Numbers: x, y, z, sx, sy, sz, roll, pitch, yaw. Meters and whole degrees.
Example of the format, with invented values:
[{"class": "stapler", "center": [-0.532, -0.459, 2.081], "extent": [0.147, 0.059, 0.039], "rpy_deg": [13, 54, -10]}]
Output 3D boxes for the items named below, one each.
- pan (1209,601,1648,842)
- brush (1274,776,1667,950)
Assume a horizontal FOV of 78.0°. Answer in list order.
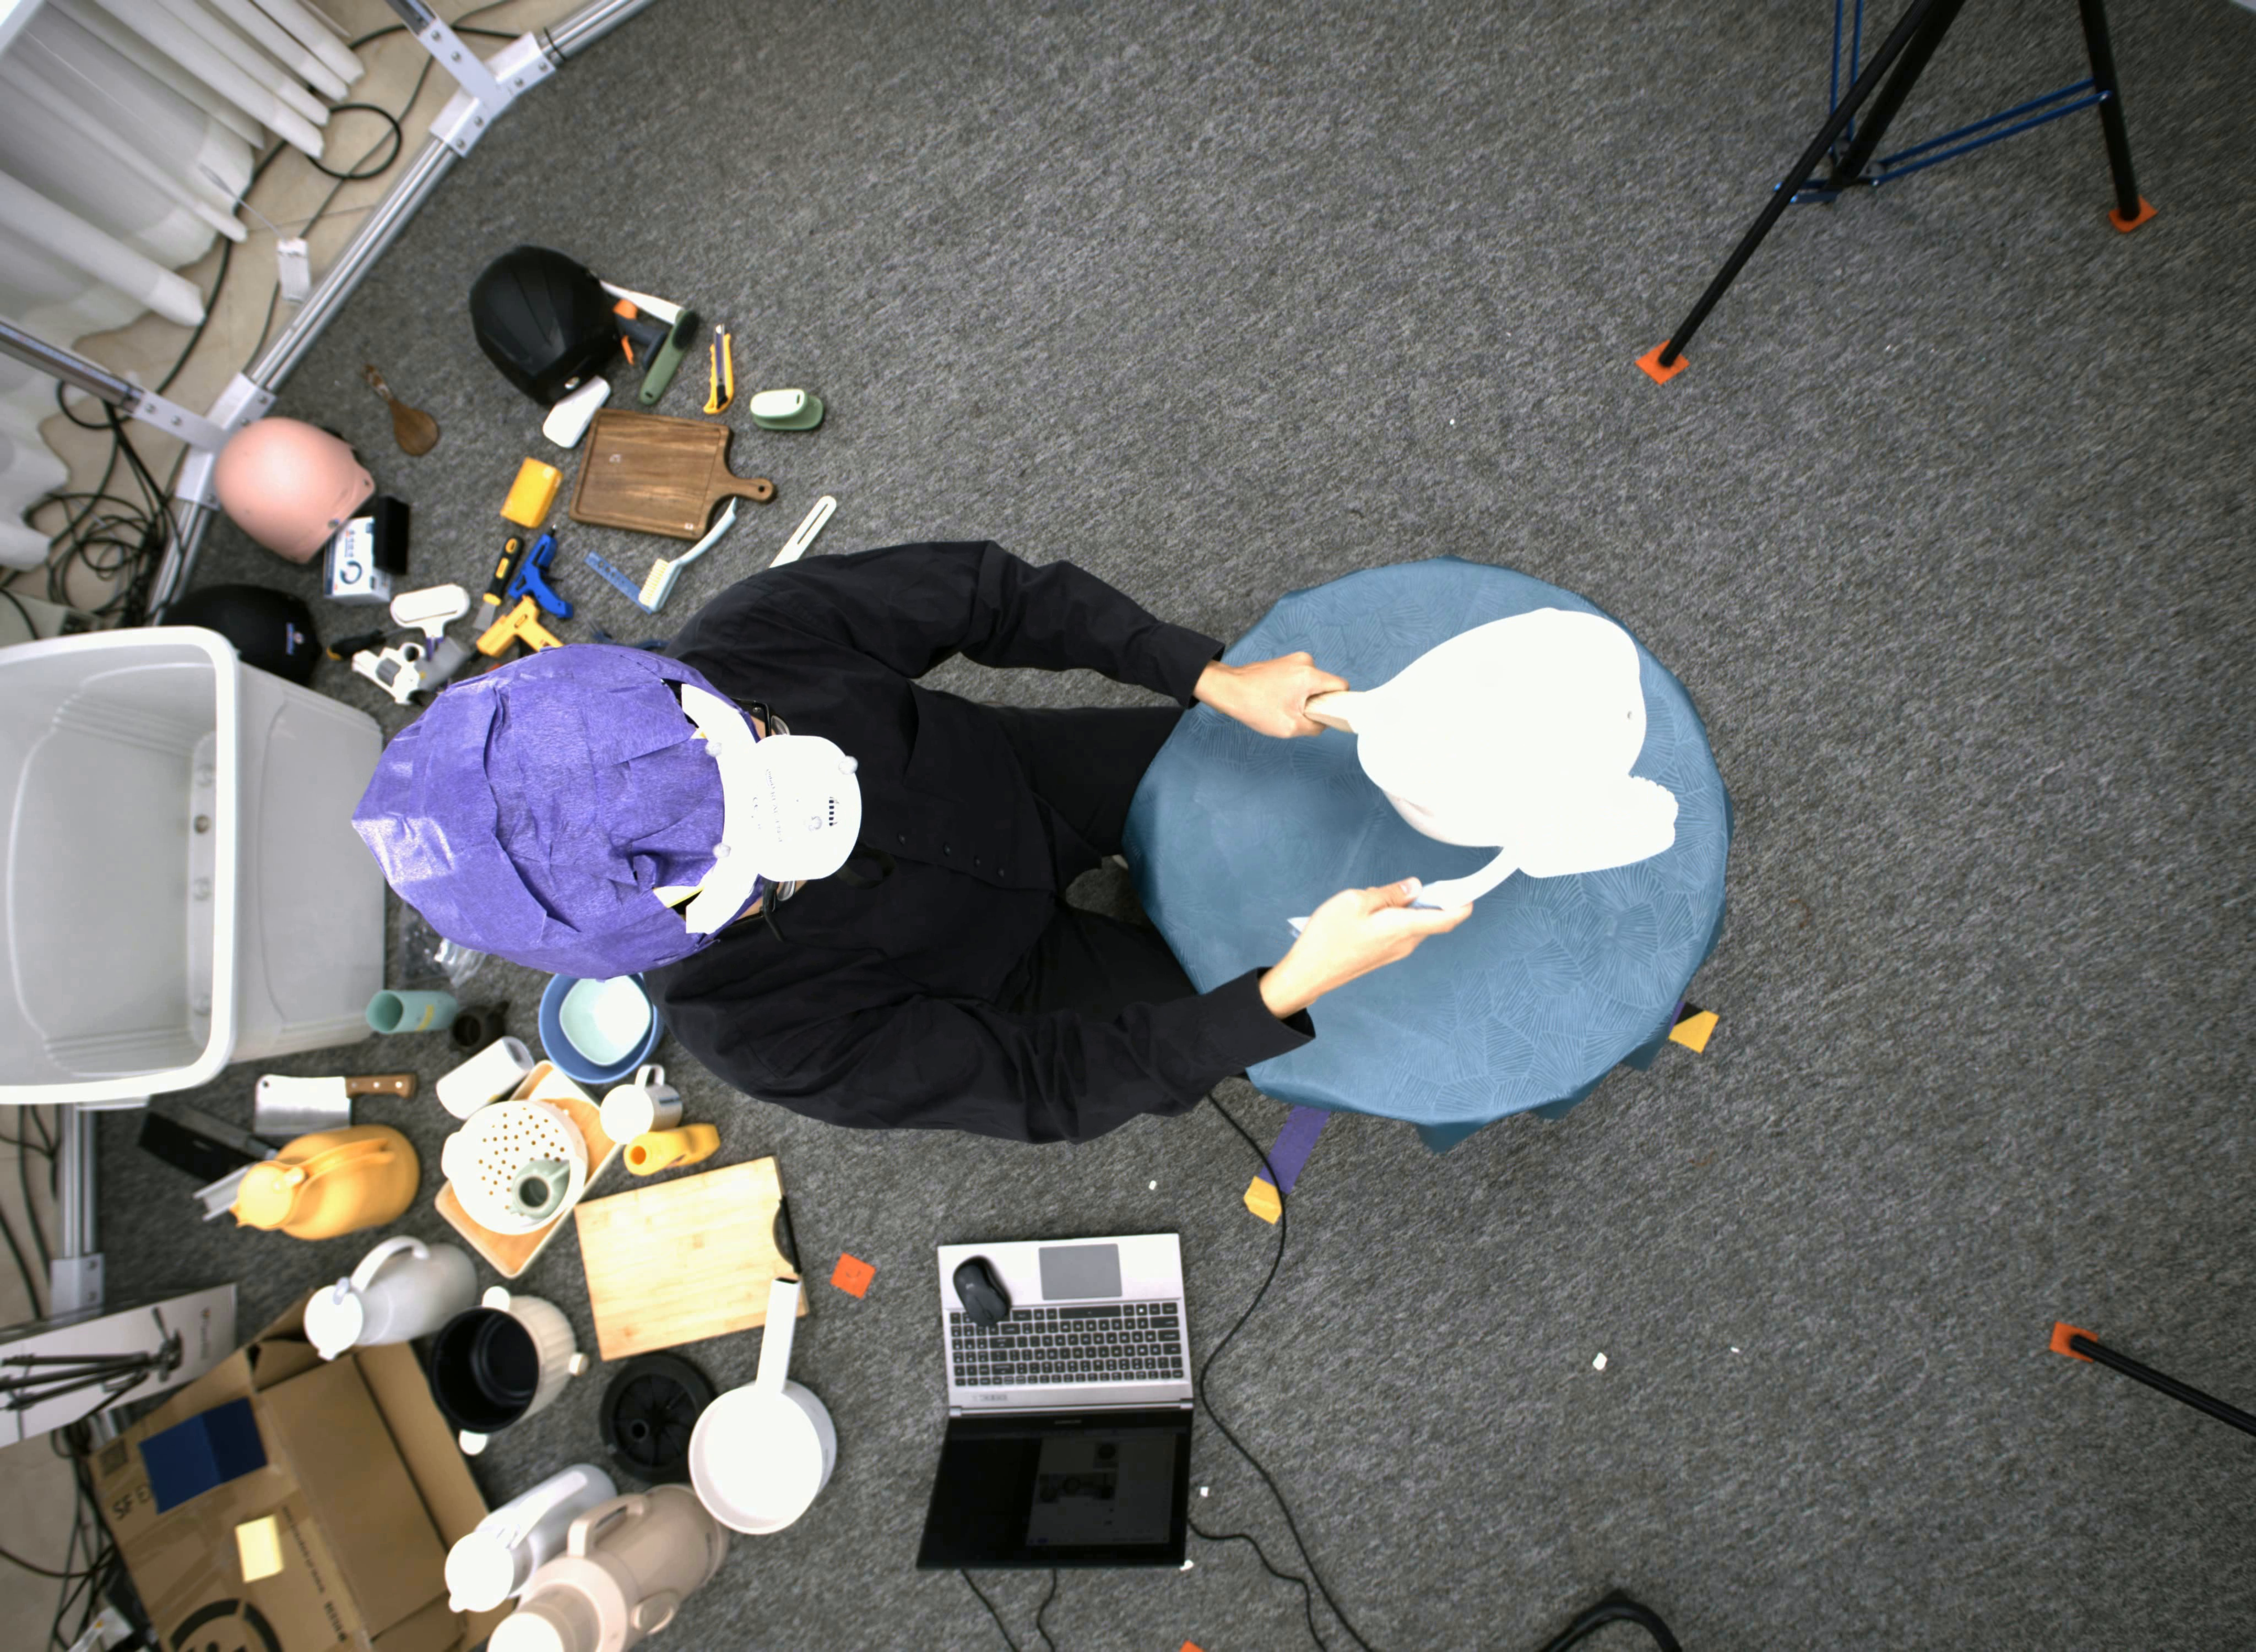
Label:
[{"class": "pan", "center": [0.266, -0.094, 1.271], "extent": [0.438, 0.103, 0.258], "rpy_deg": [1, 48, 45]}, {"class": "brush", "center": [0.268, 0.021, 1.112], "extent": [0.329, 0.083, 0.083], "rpy_deg": [-18, 90, 25]}]
